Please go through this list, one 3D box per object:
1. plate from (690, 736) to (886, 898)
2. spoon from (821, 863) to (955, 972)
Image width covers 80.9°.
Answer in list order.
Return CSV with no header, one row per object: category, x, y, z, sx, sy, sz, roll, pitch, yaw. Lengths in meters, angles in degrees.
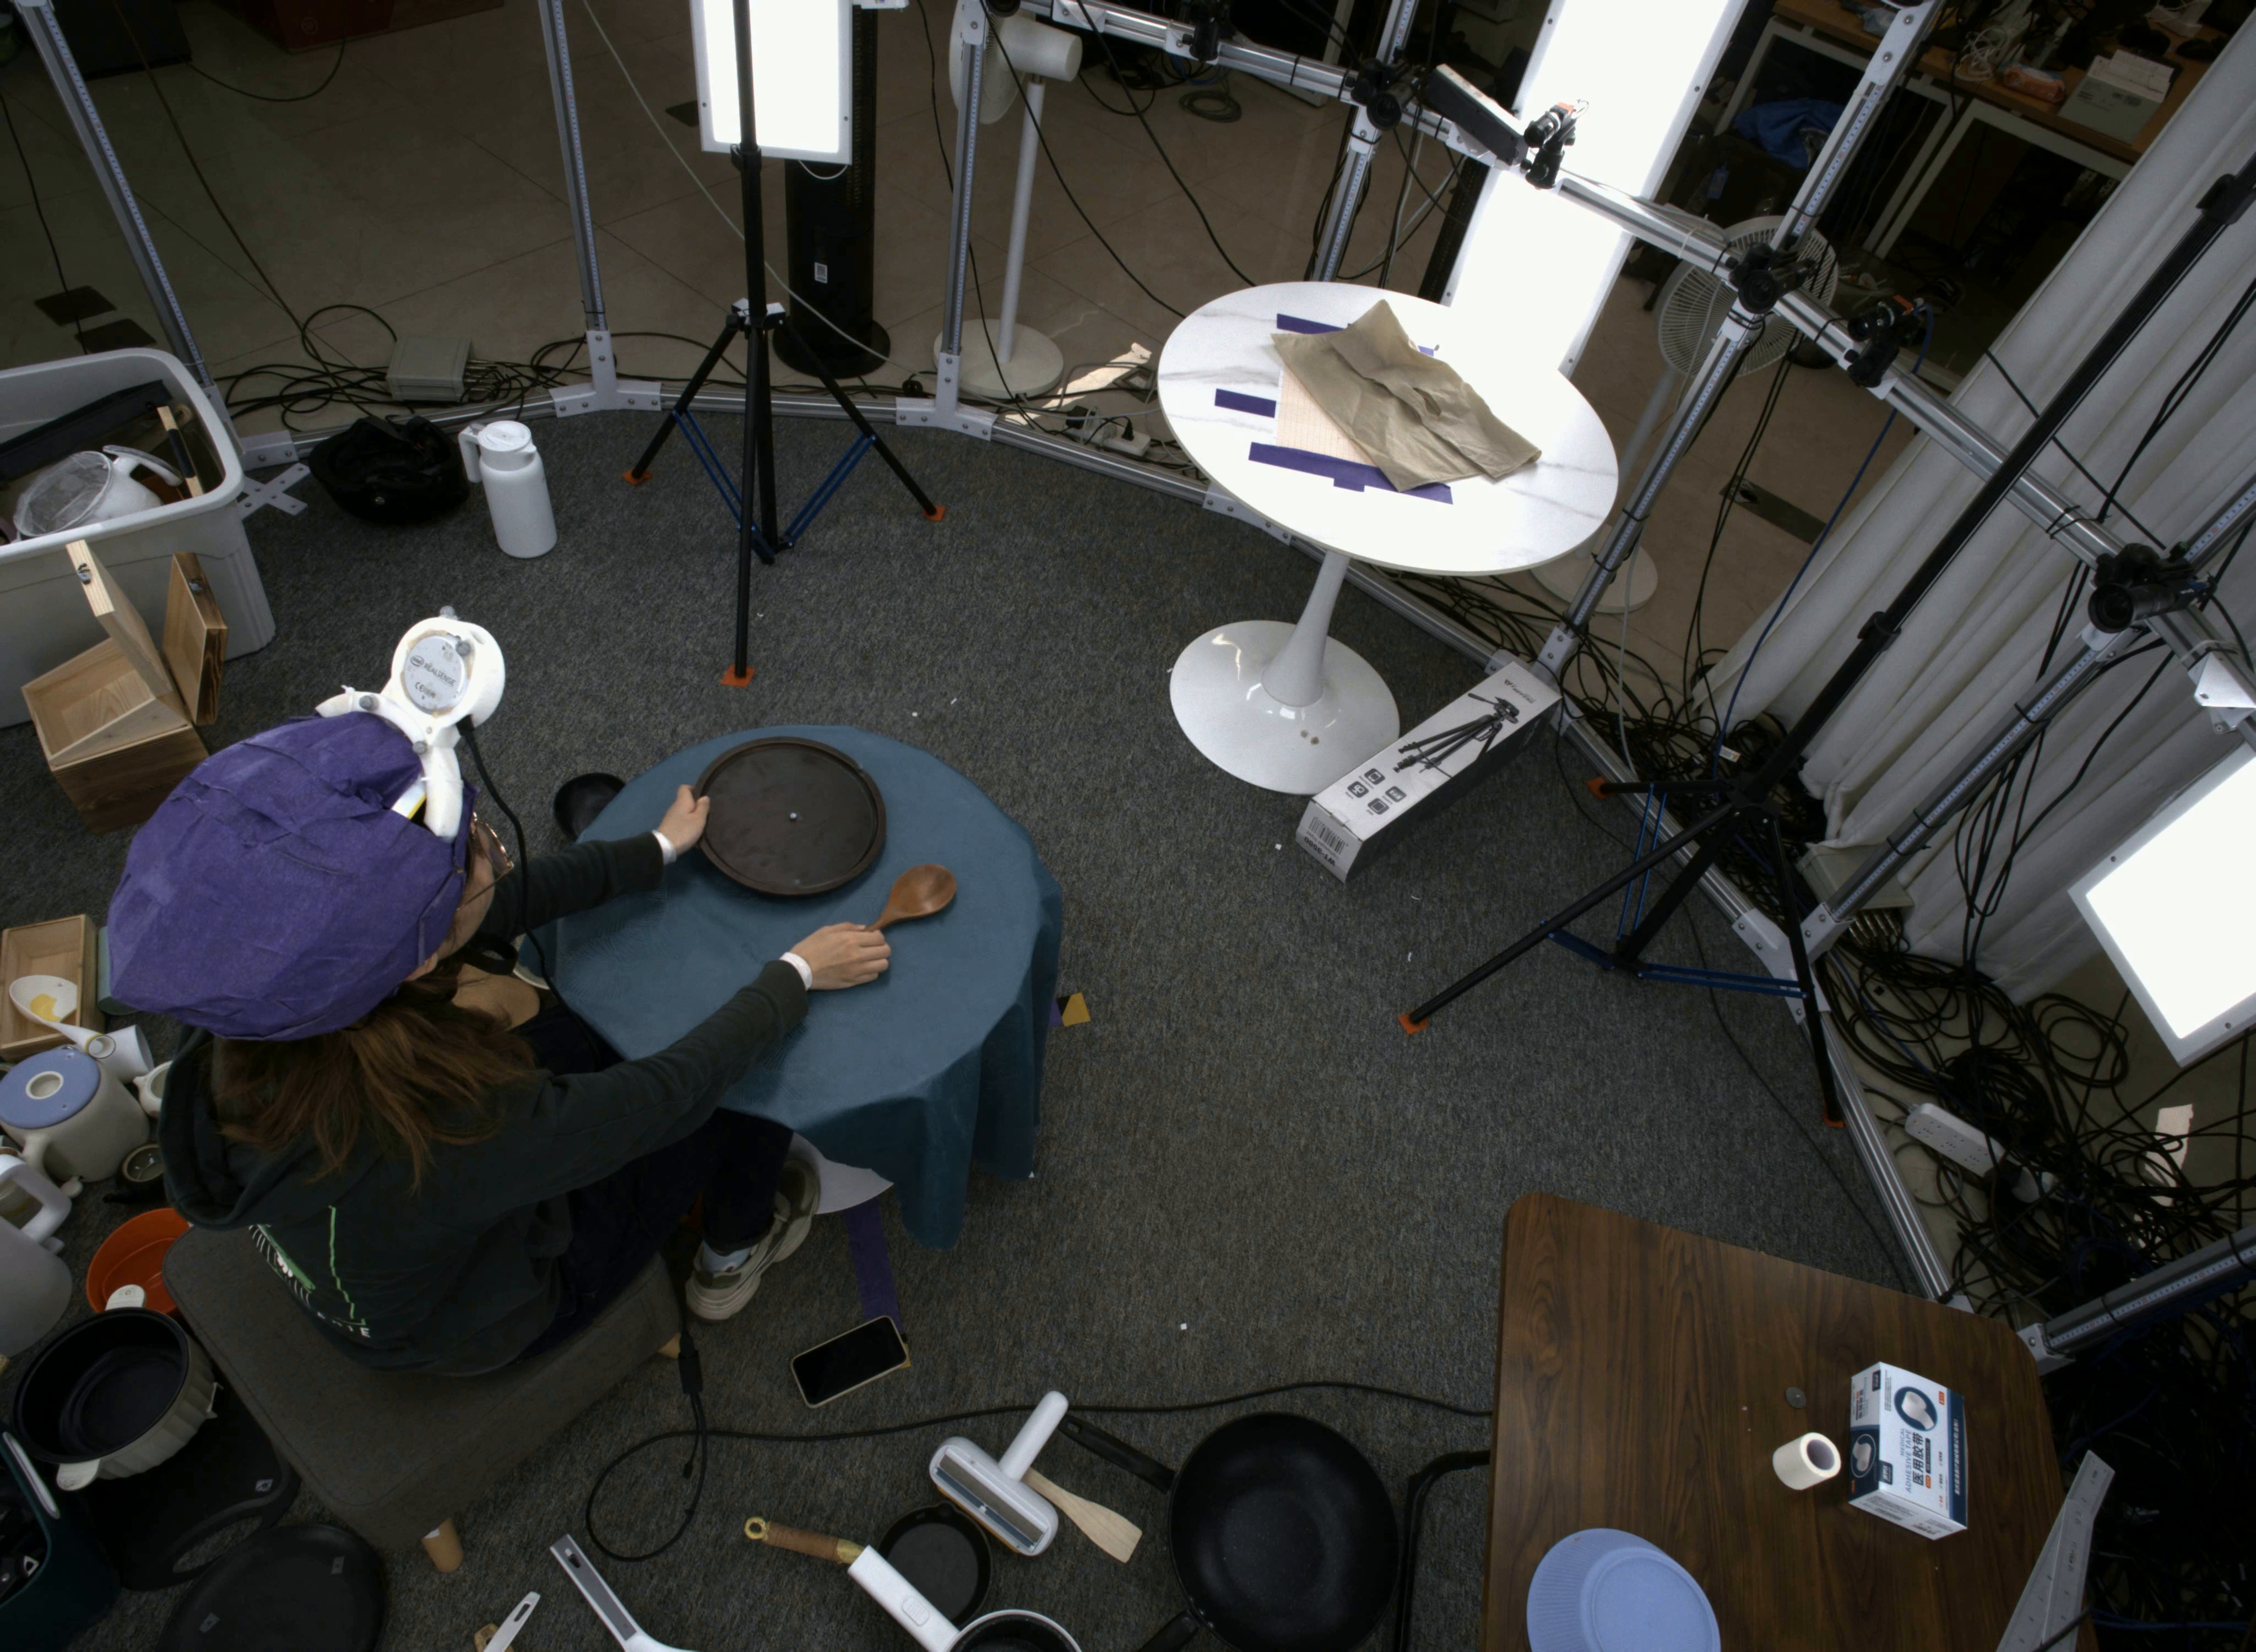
plate,-0.445,-0.014,1.702,0.256,0.029,0.250,12,53,-14
spoon,-0.307,0.116,1.659,0.074,0.017,0.216,39,52,15
